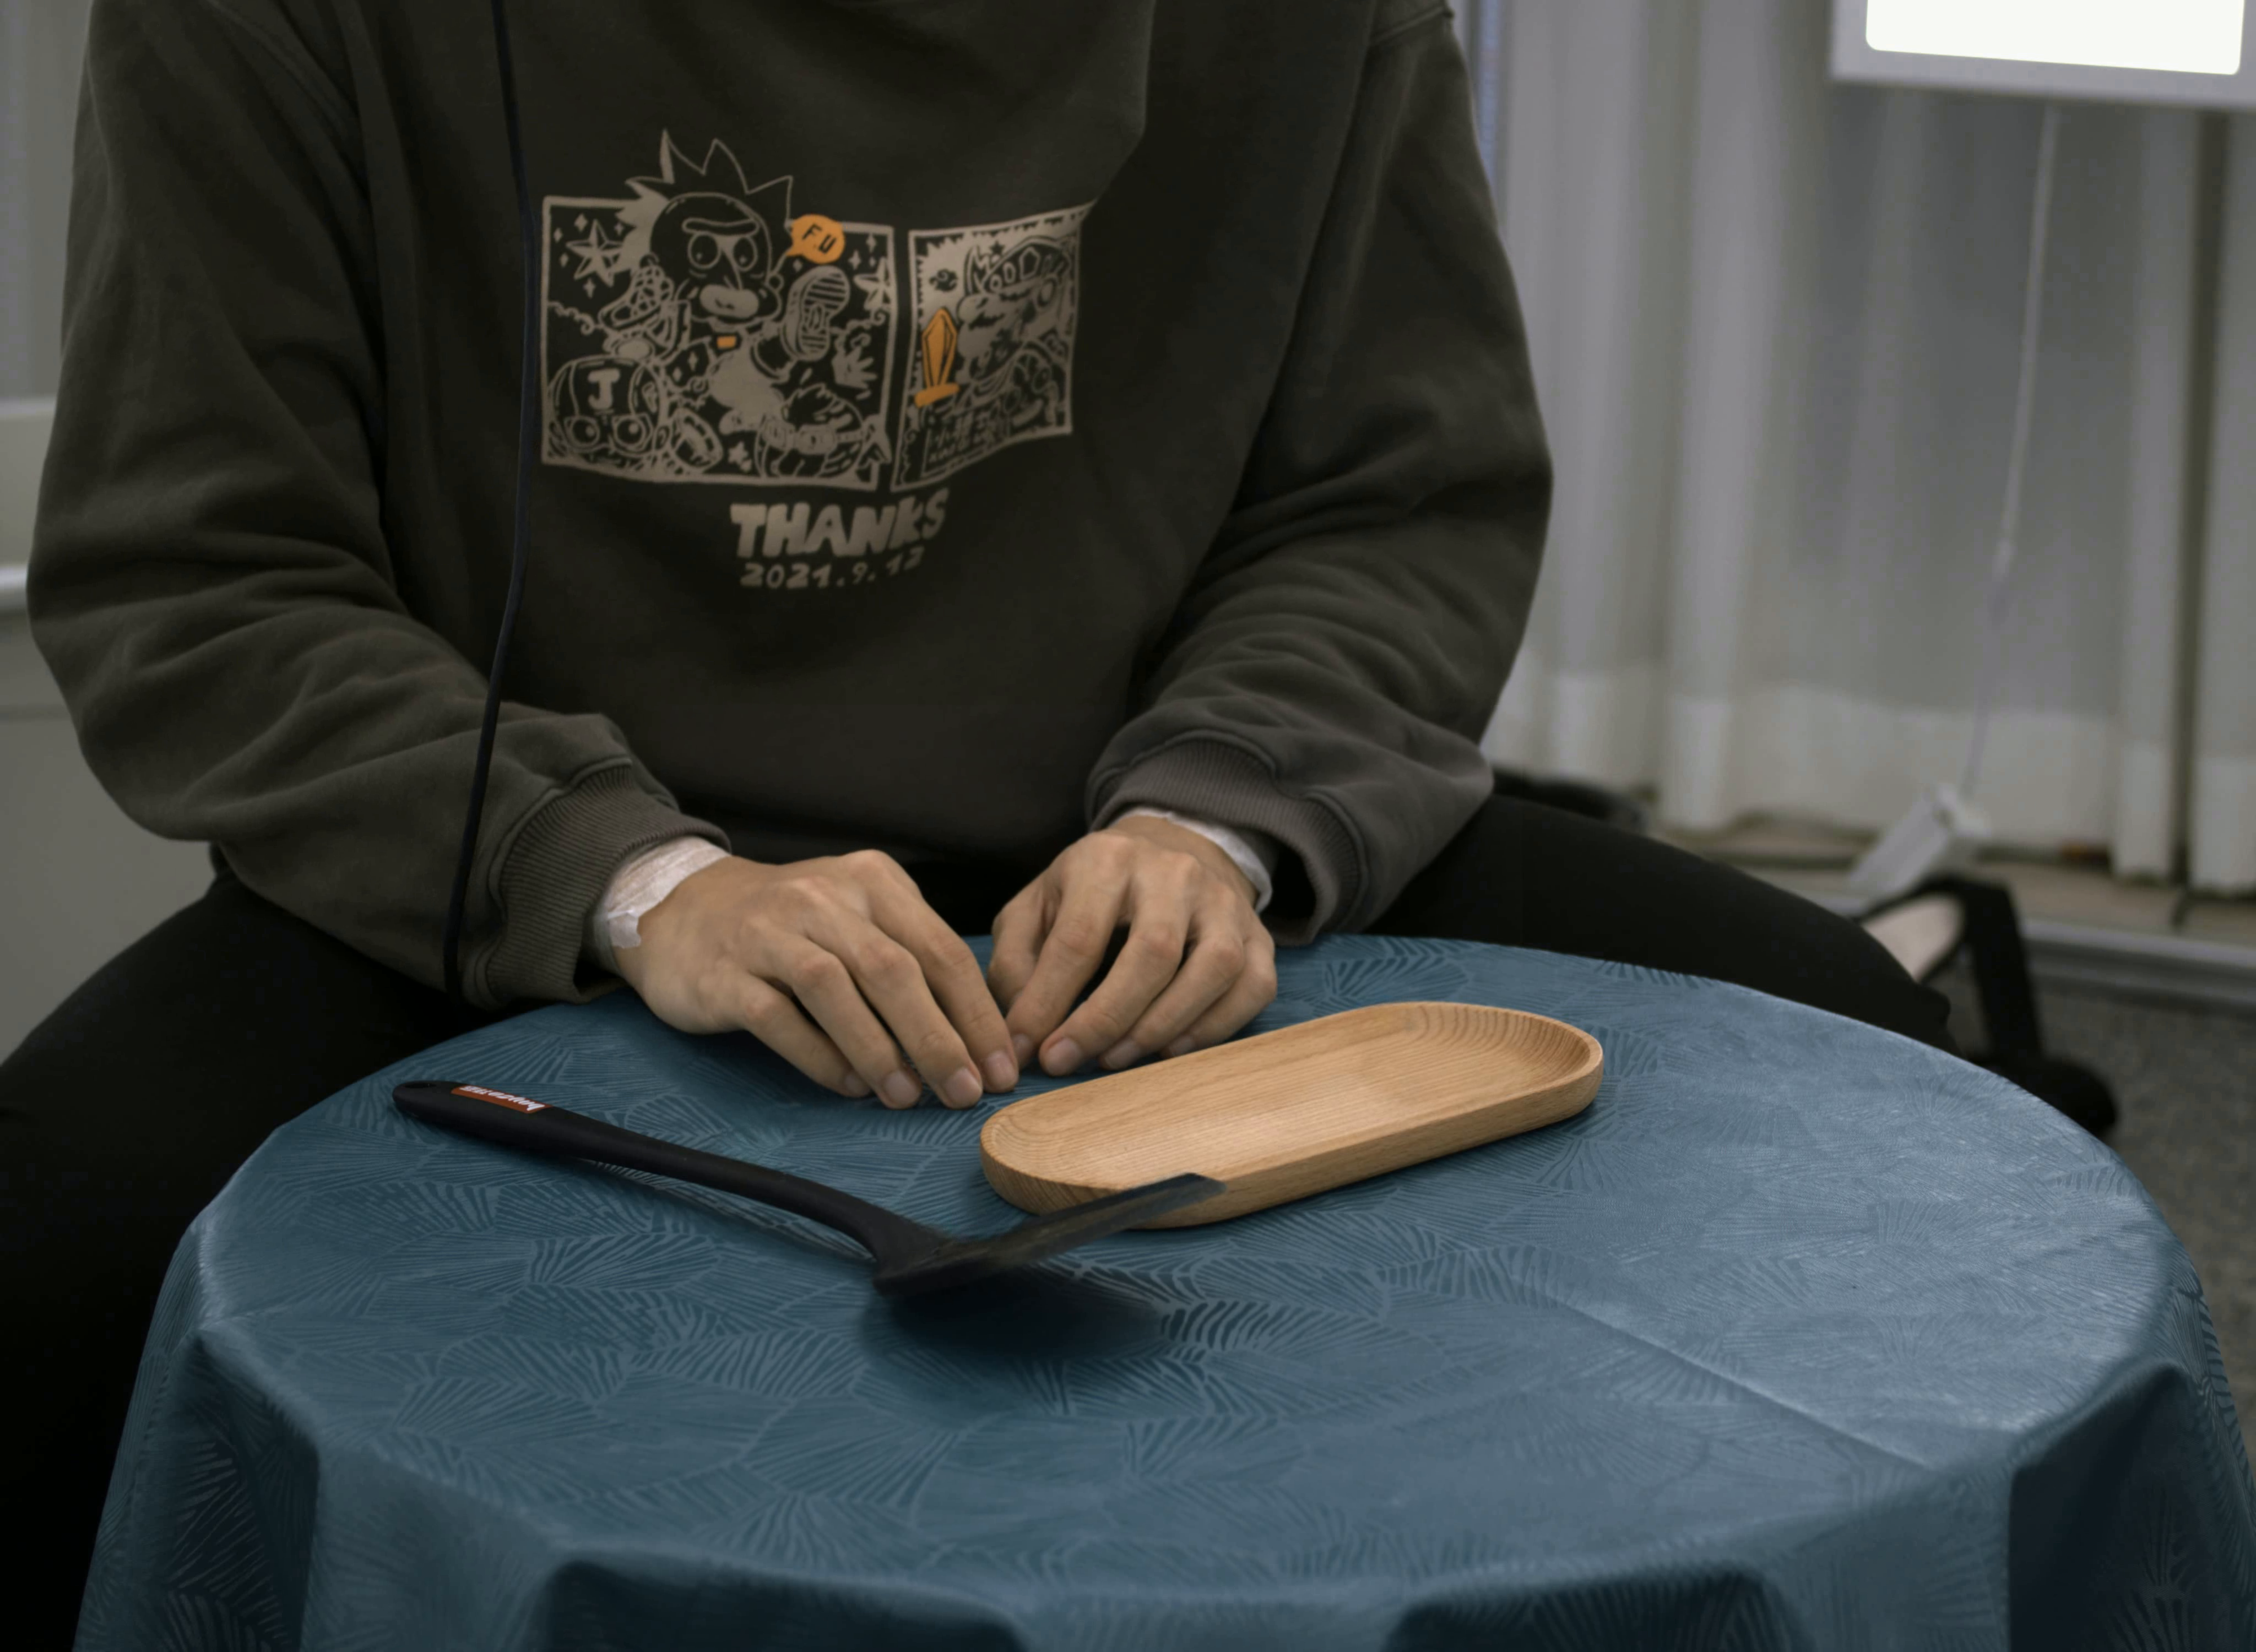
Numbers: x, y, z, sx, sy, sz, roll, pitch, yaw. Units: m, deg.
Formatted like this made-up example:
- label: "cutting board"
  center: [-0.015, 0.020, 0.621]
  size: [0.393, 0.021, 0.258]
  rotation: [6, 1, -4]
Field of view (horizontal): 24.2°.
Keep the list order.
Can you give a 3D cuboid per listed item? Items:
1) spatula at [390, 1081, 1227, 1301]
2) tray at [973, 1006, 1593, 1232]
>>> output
- label: "spatula"
  center: [-0.117, 0.102, 1.597]
  size: [0.322, 0.040, 0.100]
  rotation: [14, 20, 40]
- label: "tray"
  center: [0.052, 0.092, 1.676]
  size: [0.232, 0.020, 0.100]
  rotation: [-14, 21, -39]
